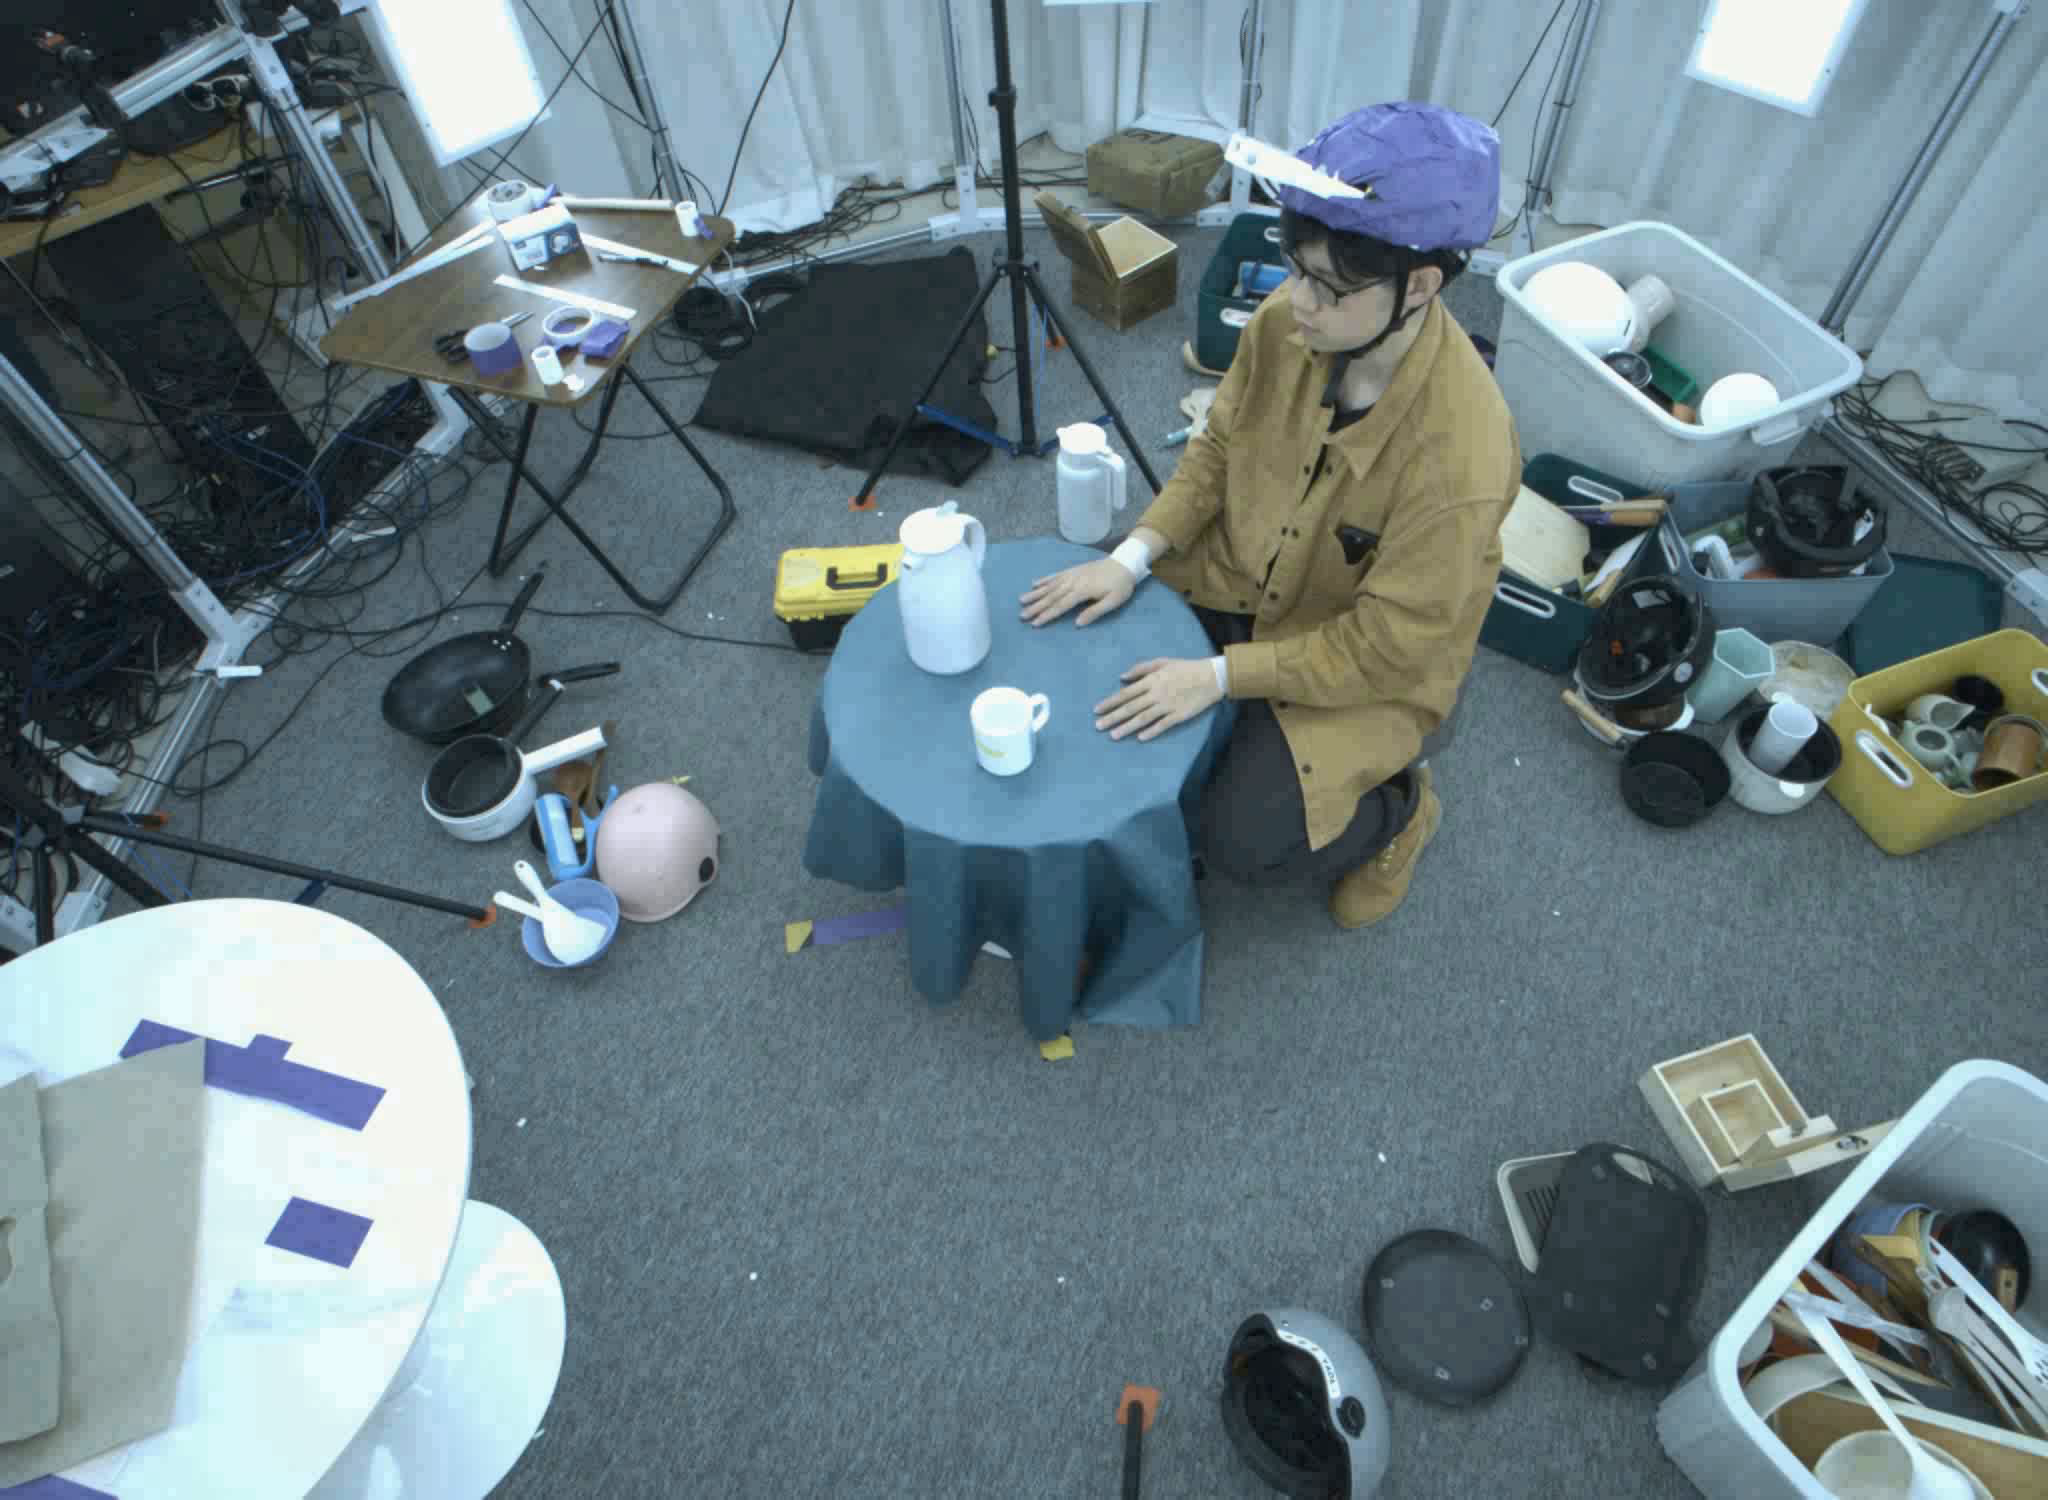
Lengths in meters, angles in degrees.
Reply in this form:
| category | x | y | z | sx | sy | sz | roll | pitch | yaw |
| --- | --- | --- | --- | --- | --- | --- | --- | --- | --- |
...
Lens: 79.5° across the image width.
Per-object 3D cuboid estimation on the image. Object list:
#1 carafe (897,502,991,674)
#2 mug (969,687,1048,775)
| category | x | y | z | sx | sy | sz | roll | pitch | yaw |
| --- | --- | --- | --- | --- | --- | --- | --- | --- | --- |
| carafe | -0.116 | -0.254 | 1.815 | 0.130 | 0.251 | 0.168 | 25 | 59 | 21 |
| mug | -0.017 | -0.033 | 1.741 | 0.119 | 0.103 | 0.083 | -33 | 58 | -18 |
